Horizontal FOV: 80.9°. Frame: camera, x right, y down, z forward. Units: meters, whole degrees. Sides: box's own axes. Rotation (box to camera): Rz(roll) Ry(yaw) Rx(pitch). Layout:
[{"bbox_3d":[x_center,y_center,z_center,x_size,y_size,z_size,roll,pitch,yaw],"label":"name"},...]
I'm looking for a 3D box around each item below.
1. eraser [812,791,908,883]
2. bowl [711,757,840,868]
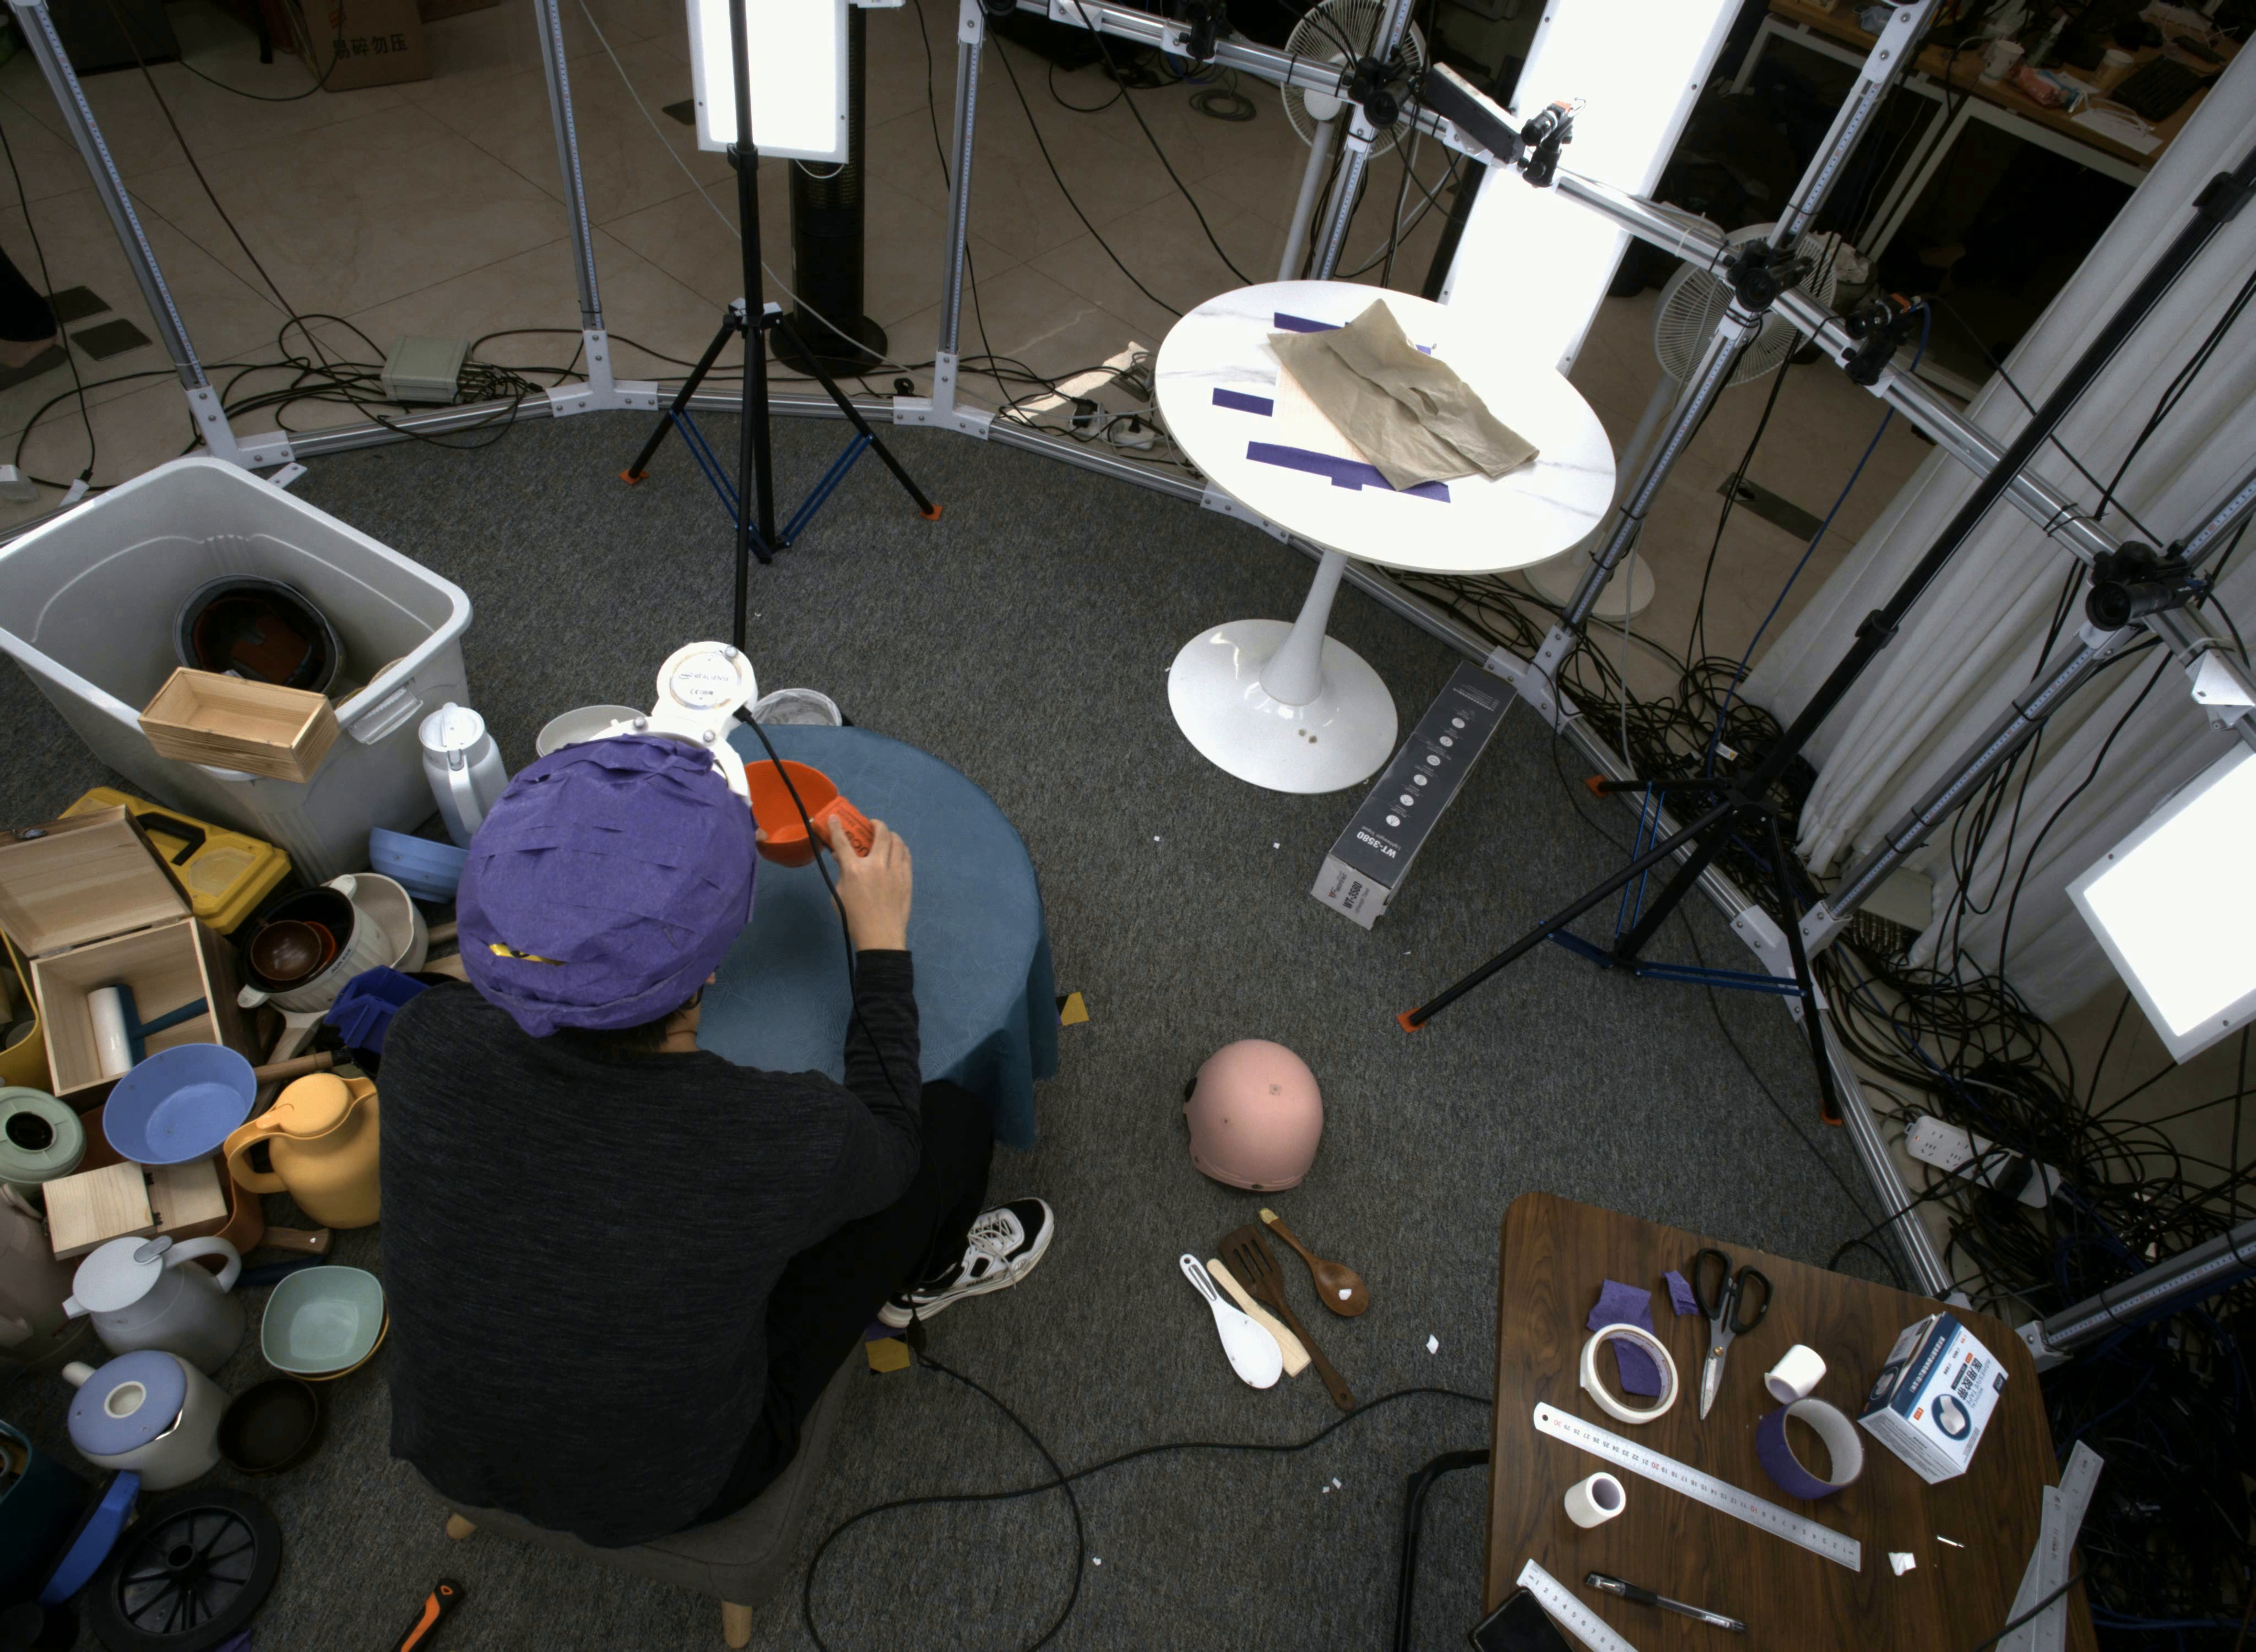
[{"bbox_3d":[-0.314,0.012,1.522,0.109,0.023,0.059,44,42,-6],"label":"eraser"},{"bbox_3d":[-0.418,-0.006,1.565,0.146,0.108,0.145,2,47,-1],"label":"bowl"}]
